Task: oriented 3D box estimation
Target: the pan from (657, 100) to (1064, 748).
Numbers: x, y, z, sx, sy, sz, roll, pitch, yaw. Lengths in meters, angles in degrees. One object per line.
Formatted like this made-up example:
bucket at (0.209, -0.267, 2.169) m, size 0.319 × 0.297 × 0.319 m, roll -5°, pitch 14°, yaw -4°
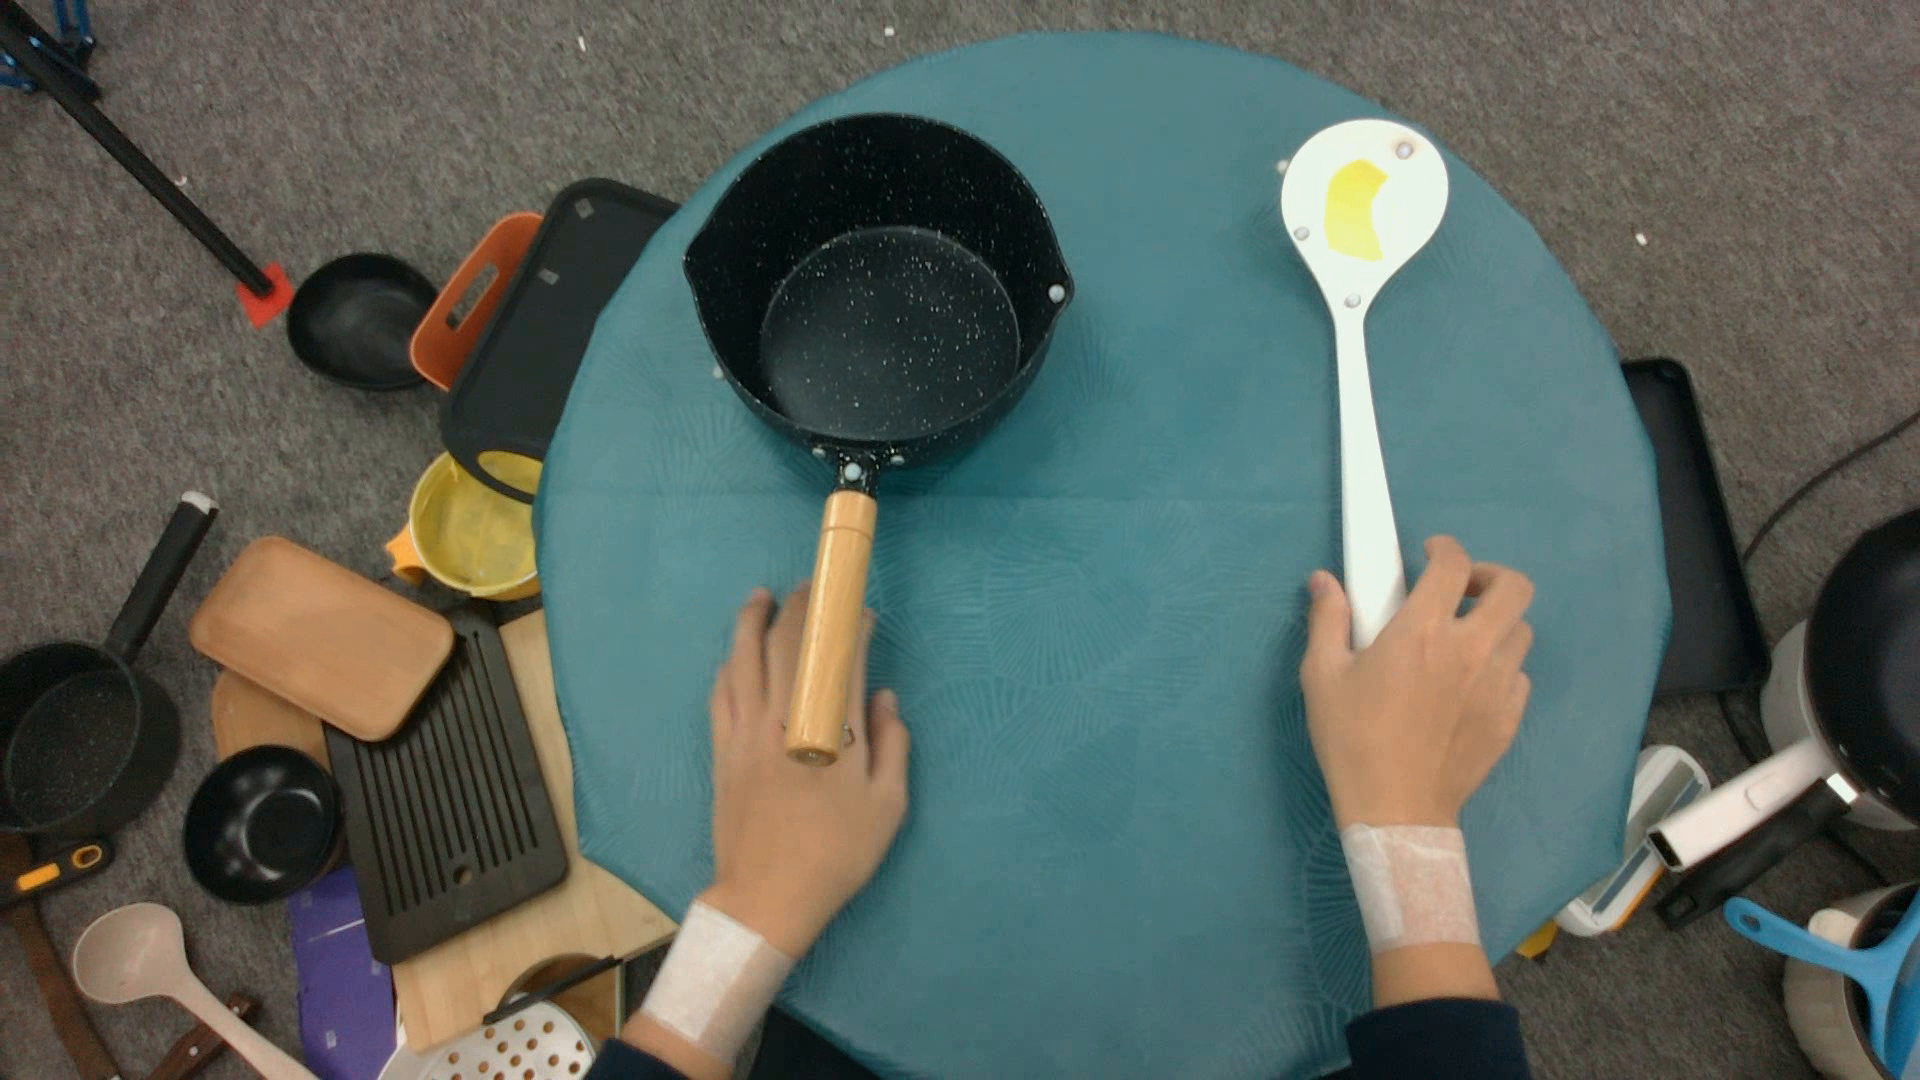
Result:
pan at (-0.055, -0.058, 0.696) m, size 0.207 × 0.108 × 0.344 m, roll 4°, pitch 71°, yaw 1°

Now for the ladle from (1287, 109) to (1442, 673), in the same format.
ladle at (0.215, -0.081, 0.722) m, size 0.090 × 0.069 × 0.294 m, roll 5°, pitch 72°, yaw -12°
